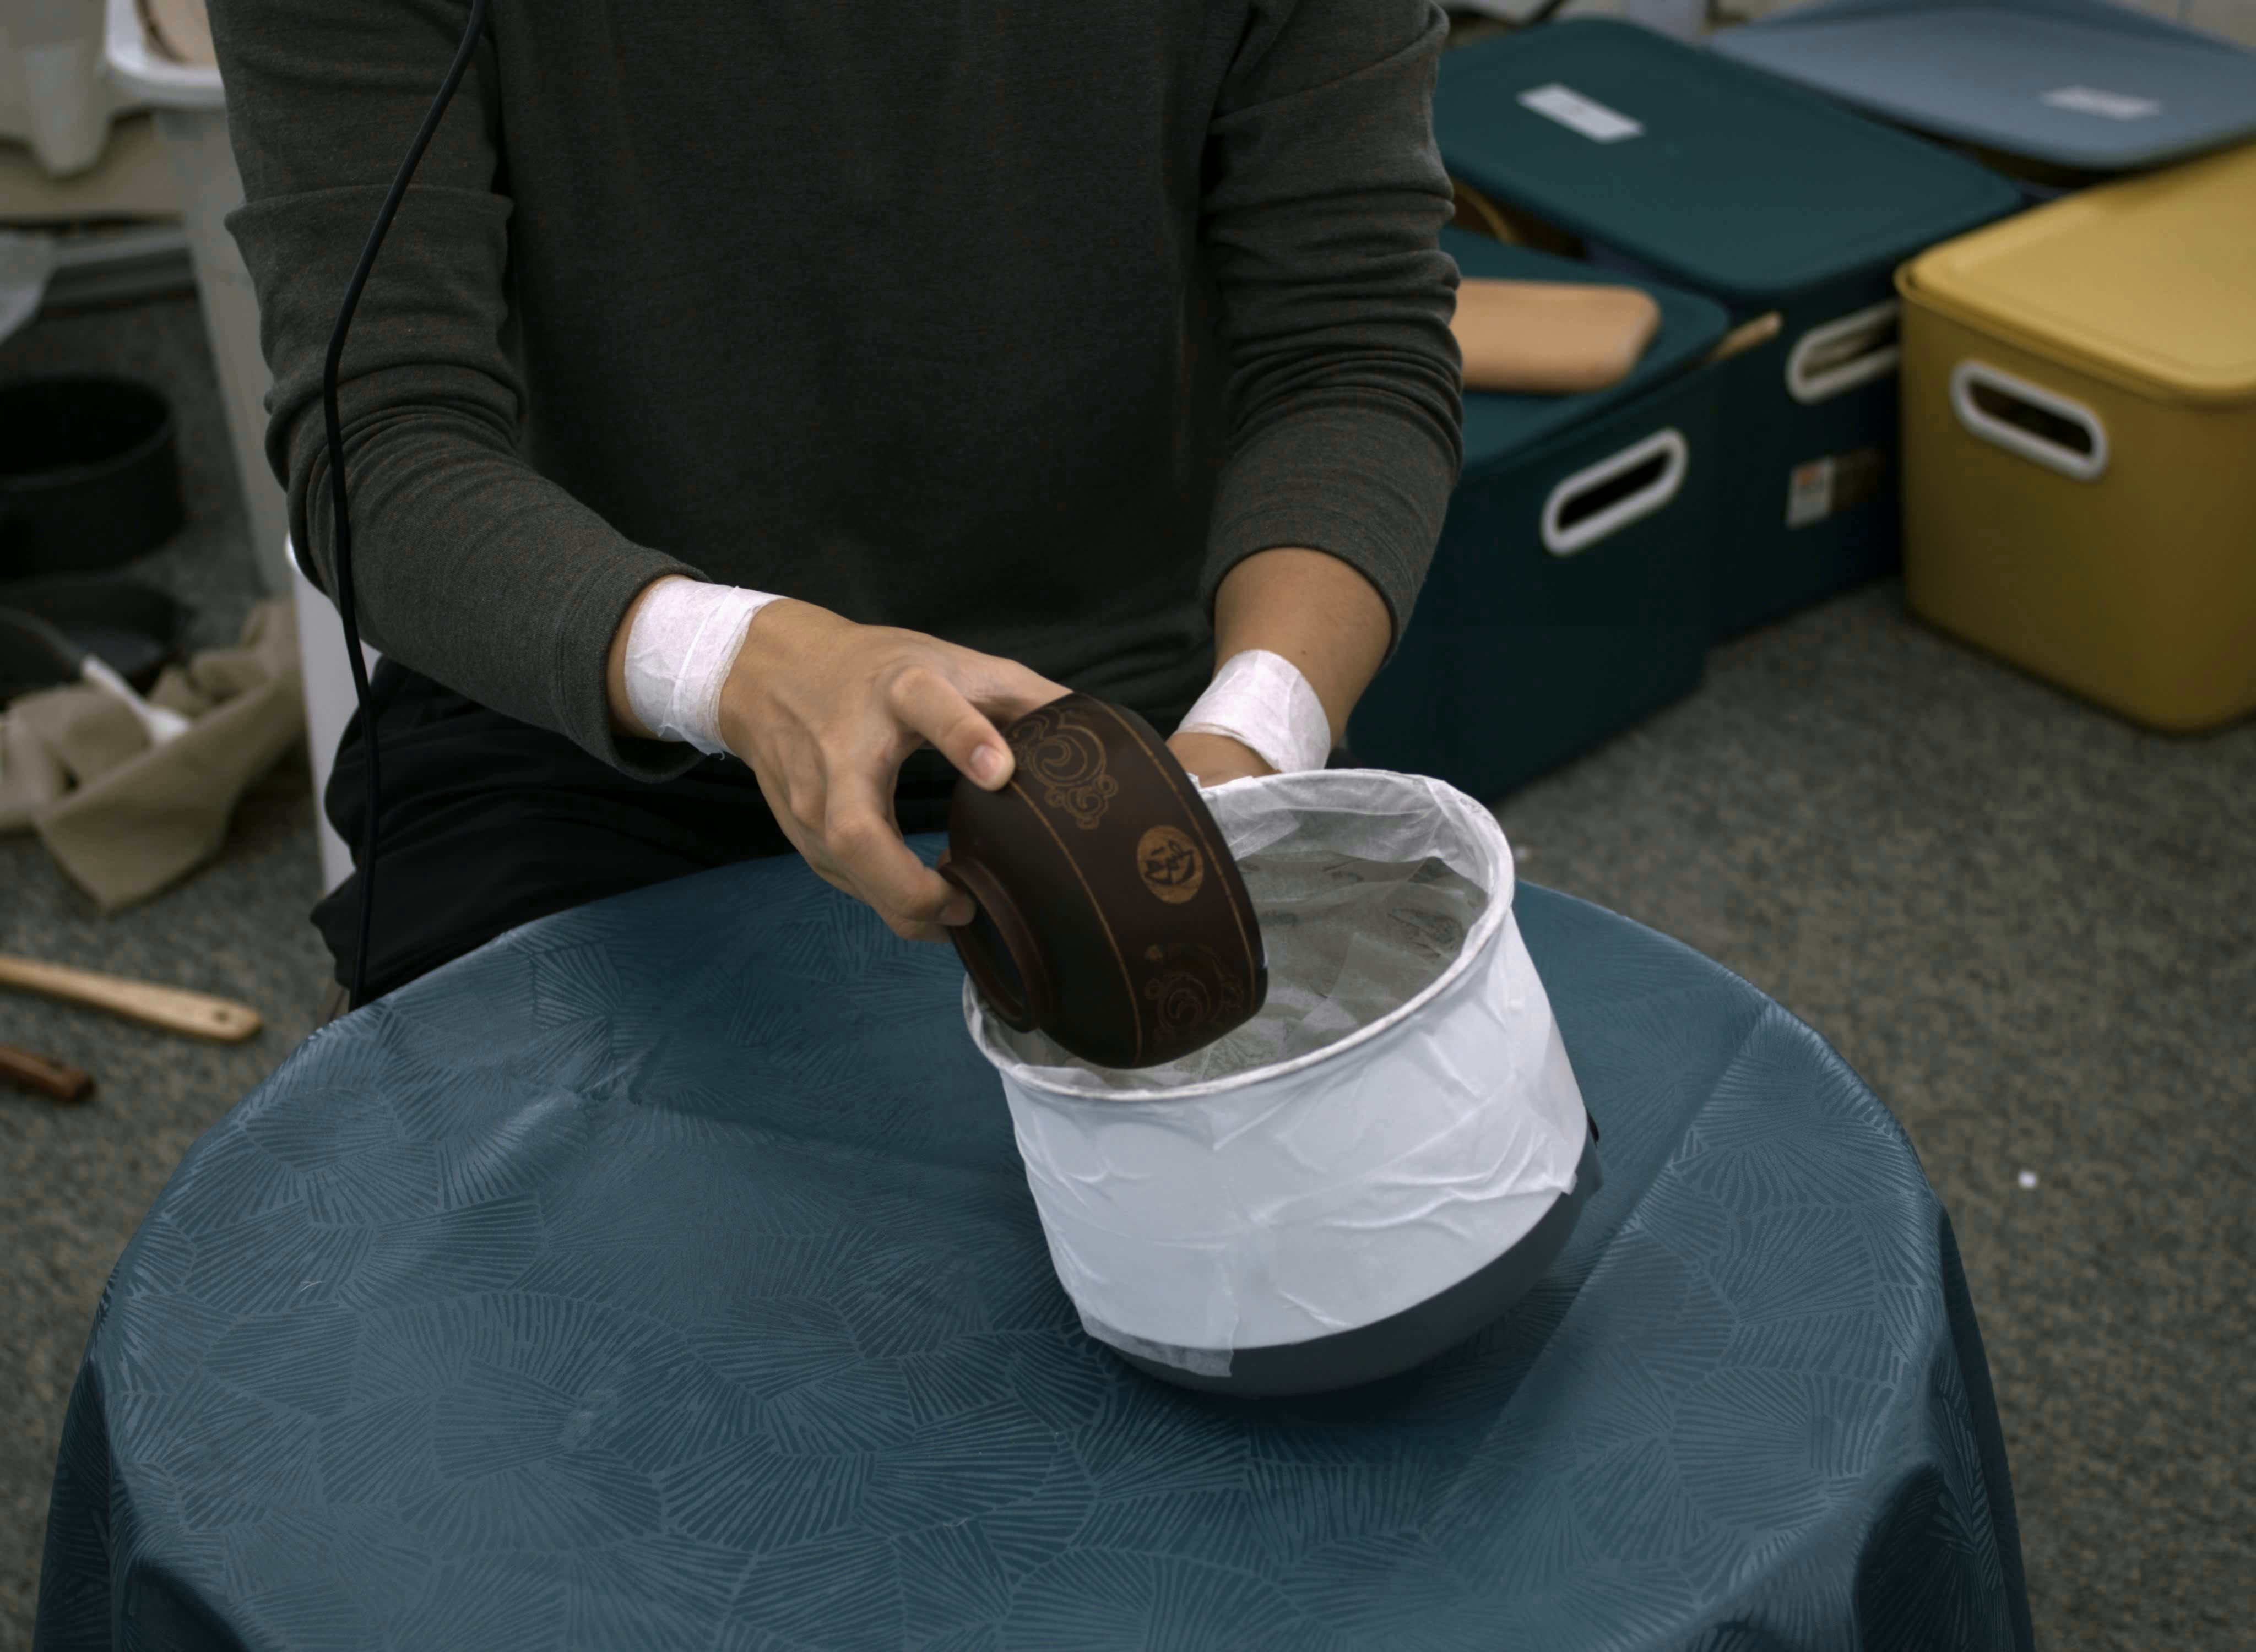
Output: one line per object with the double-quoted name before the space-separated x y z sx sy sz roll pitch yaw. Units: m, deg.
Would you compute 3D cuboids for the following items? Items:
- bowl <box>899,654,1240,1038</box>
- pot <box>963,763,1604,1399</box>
"bowl" -0.027 0.013 1.730 0.070 0.116 0.118 -30 36 -24
"pot" 0.044 0.070 1.786 0.178 0.135 0.236 -20 29 -5
